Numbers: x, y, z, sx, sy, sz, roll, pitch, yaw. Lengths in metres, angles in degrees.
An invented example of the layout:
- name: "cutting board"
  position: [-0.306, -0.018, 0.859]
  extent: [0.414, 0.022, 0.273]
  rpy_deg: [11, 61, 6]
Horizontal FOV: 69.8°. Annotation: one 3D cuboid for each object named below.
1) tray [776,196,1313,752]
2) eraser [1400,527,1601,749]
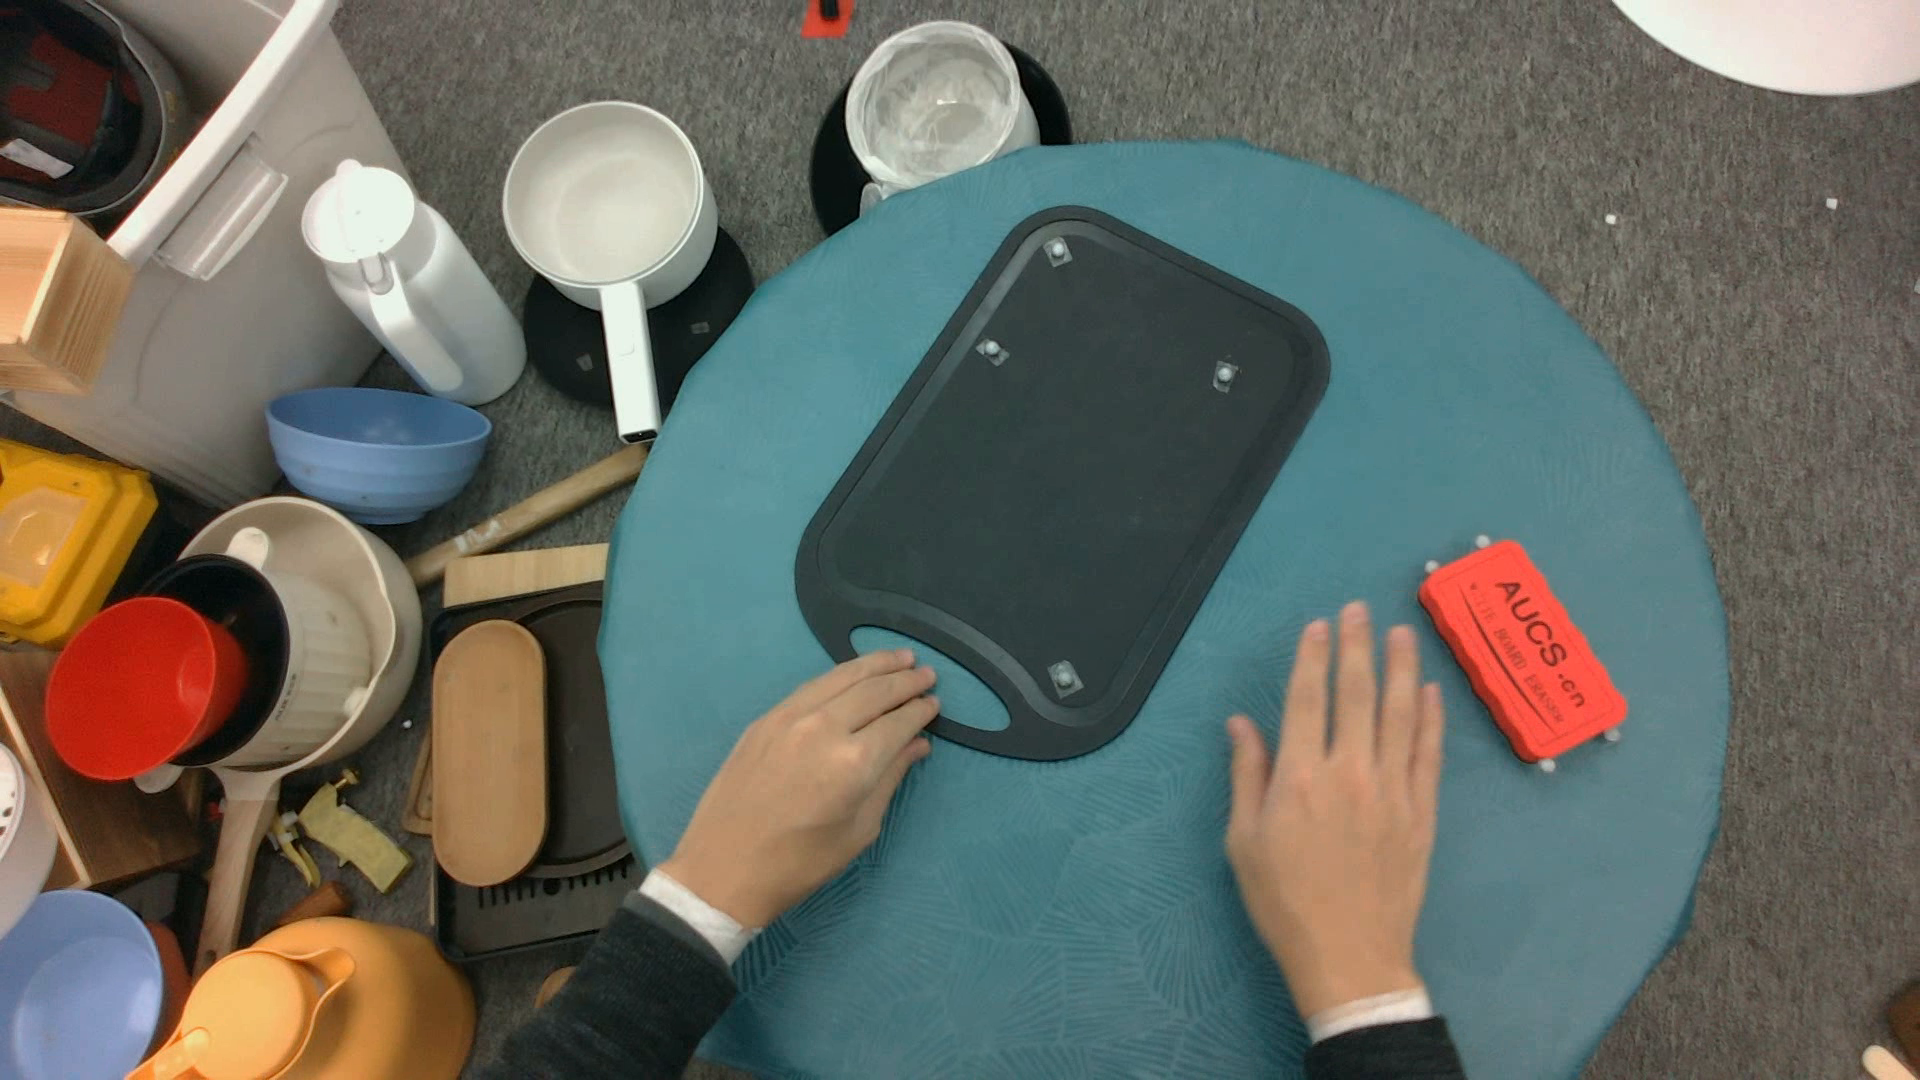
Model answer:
- name: "tray"
  position: [0.047, -0.043, 0.769]
  extent: [0.211, 0.010, 0.326]
  rpy_deg: [30, 73, 12]
- name: "eraser"
  position: [0.281, 0.050, 0.720]
  extent: [0.059, 0.023, 0.108]
  rpy_deg: [-24, 71, -6]
